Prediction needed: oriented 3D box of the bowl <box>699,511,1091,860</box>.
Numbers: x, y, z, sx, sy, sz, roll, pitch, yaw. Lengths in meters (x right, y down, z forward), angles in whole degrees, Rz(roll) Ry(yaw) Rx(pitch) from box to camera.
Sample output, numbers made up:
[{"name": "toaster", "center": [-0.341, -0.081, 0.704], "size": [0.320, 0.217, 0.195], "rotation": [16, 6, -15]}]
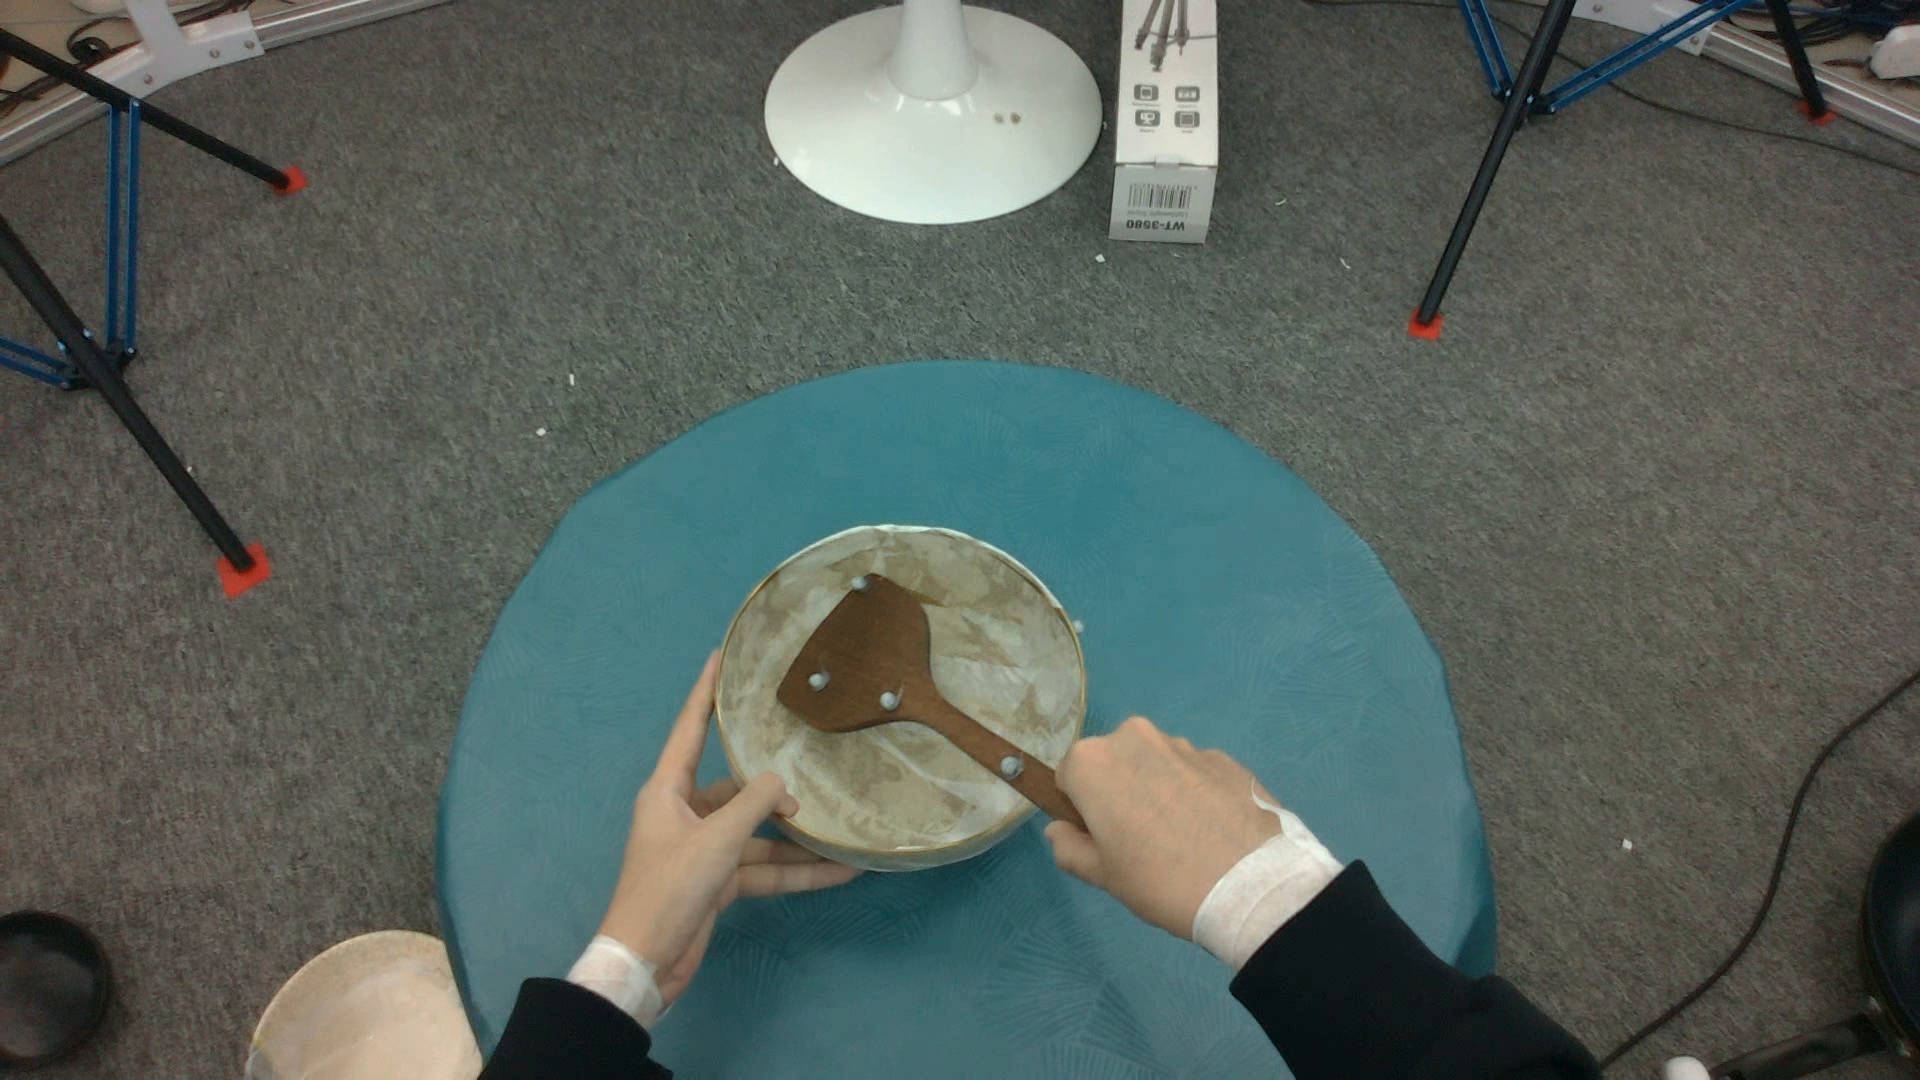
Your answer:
[{"name": "bowl", "center": [-0.039, 0.093, 0.767], "size": [0.215, 0.094, 0.215], "rotation": [3, 55, -4]}]

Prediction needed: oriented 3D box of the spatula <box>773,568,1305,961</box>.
[{"name": "spatula", "center": [0.018, 0.098, 0.655], "size": [0.096, 0.016, 0.386], "rotation": [-53, 35, -9]}]
